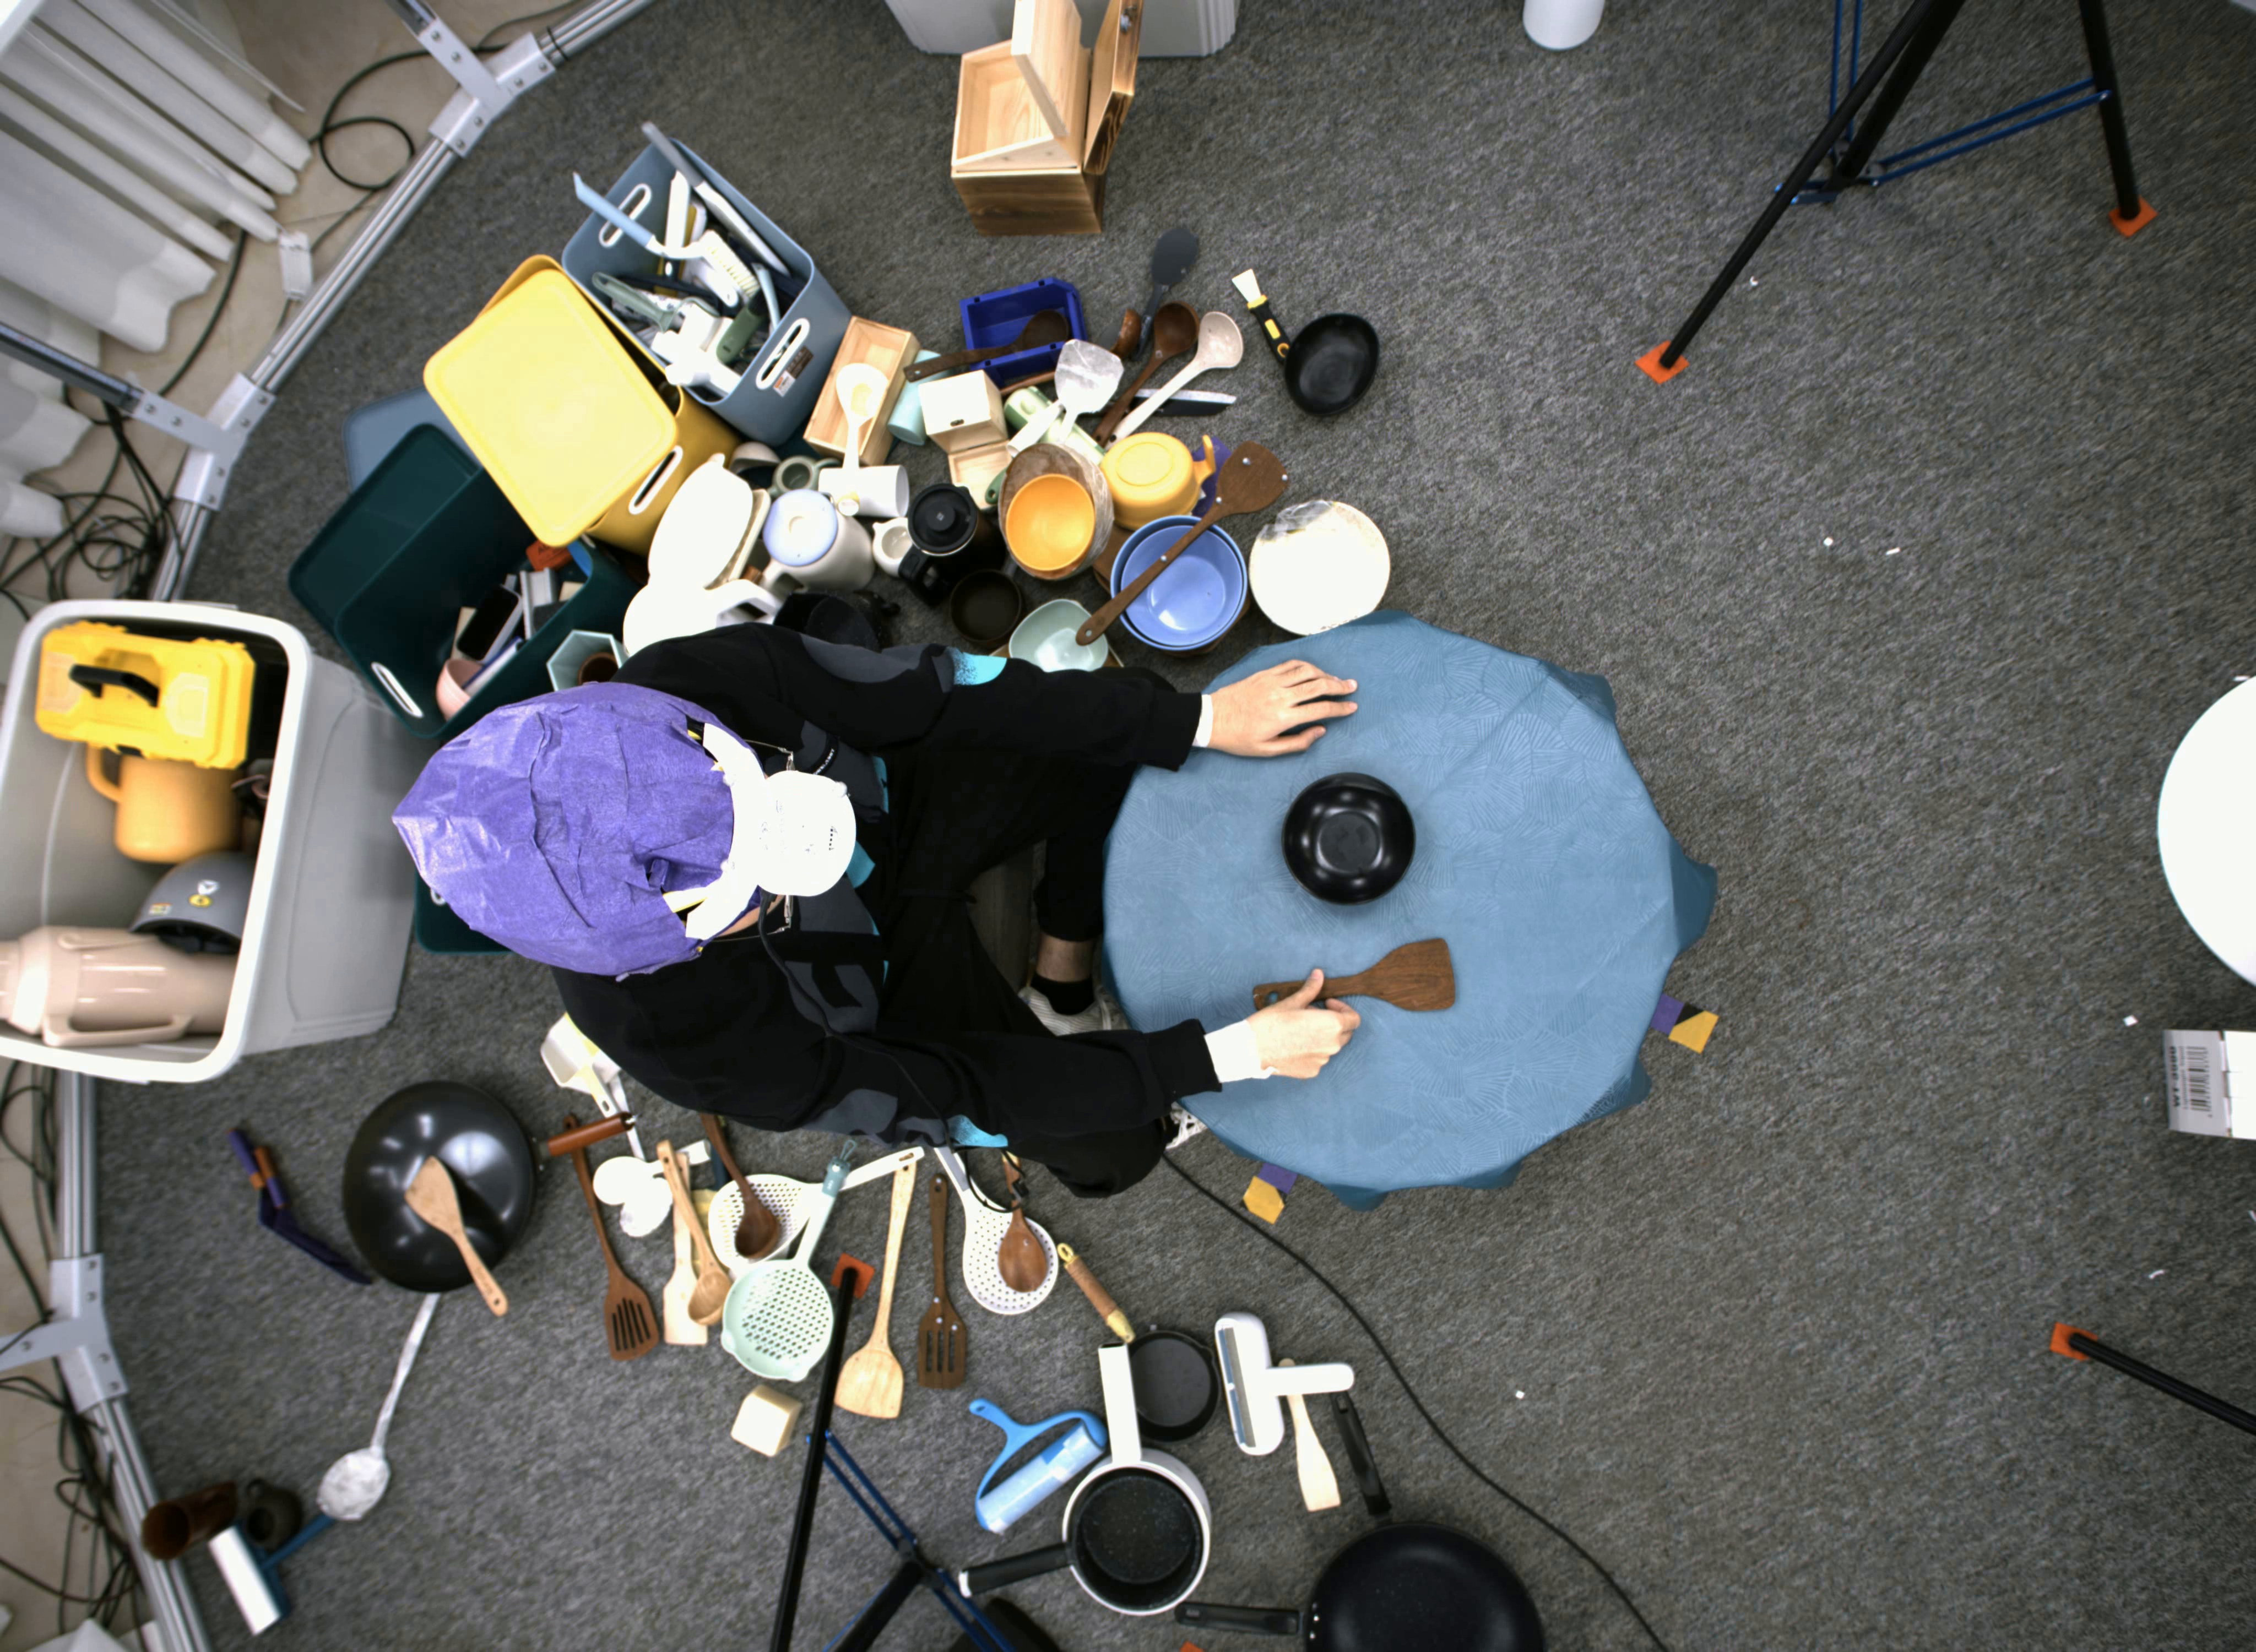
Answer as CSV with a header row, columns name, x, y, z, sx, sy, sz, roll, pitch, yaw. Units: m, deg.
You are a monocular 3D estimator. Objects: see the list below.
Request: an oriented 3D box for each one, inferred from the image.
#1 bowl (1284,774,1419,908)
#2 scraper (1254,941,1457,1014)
name,x,y,z,sx,sy,sz,roll,pitch,yaw
bowl,0.234,0.016,1.450,0.140,0.050,0.139,0,88,9
scraper,0.238,0.170,1.460,0.212,0.011,0.075,-9,82,10
